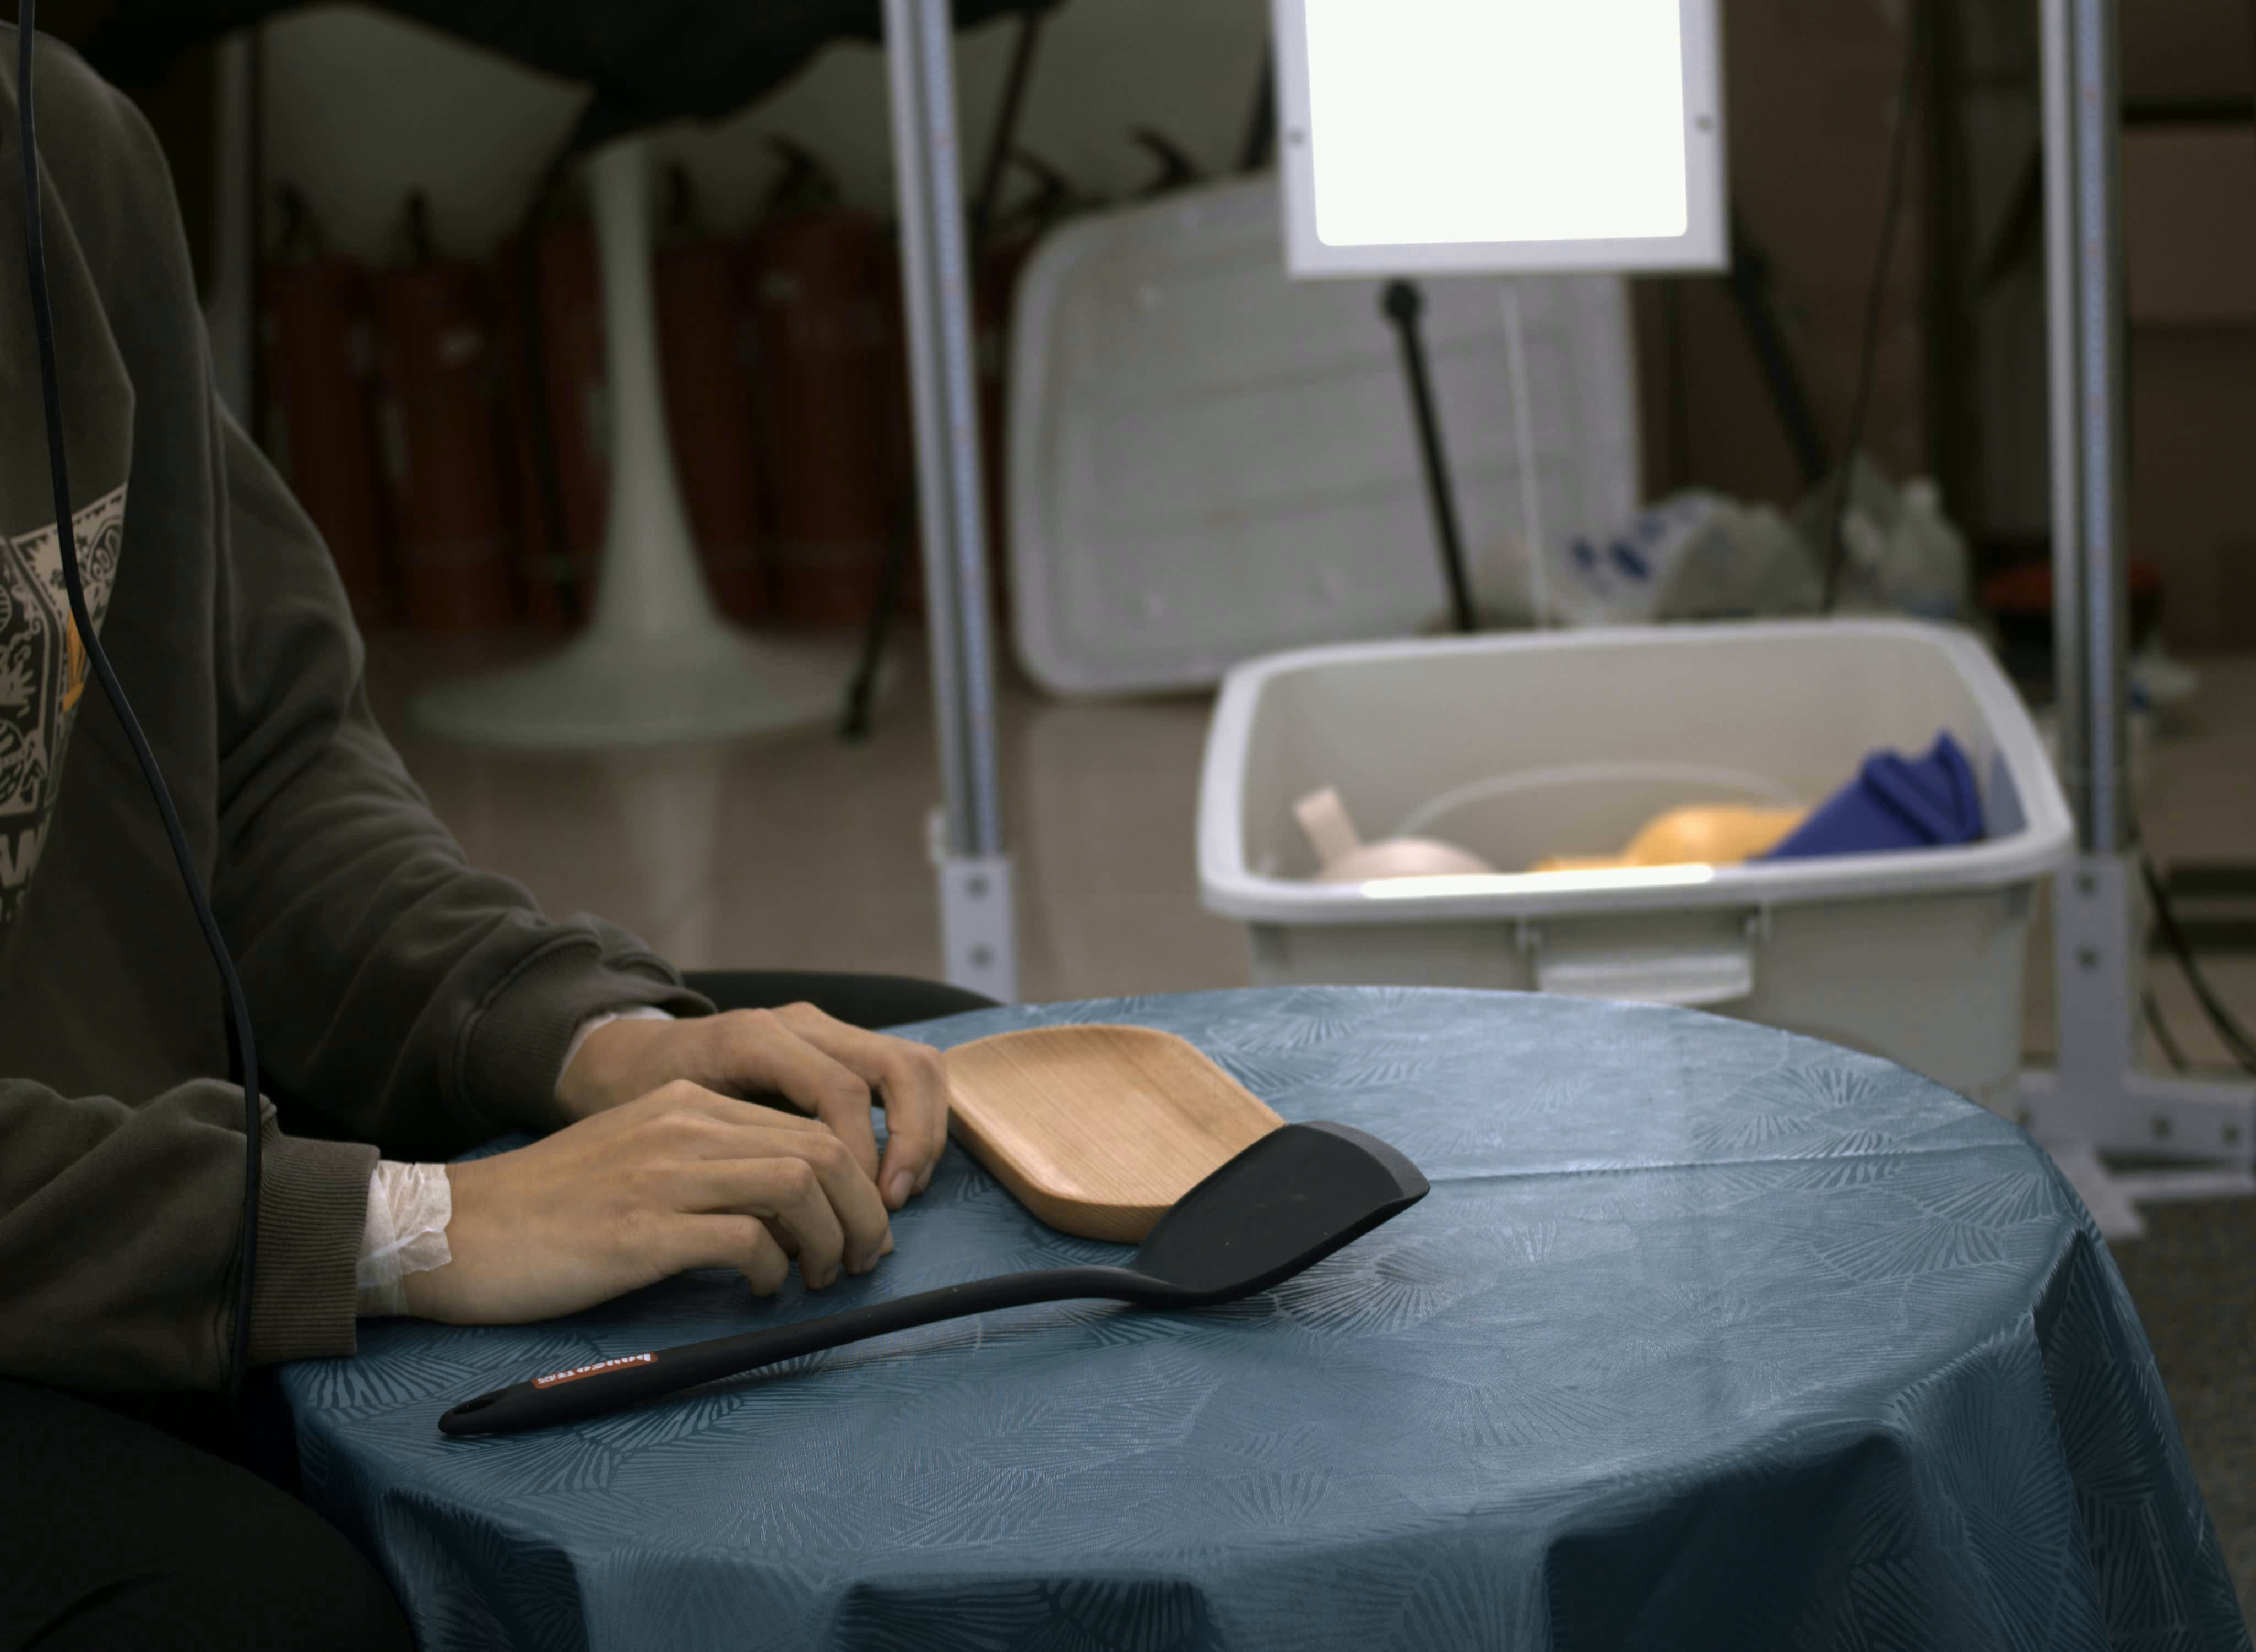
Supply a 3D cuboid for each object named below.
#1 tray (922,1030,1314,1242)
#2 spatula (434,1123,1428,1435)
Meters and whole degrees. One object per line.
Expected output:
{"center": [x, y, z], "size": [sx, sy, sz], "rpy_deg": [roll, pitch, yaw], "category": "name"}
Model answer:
{"center": [-0.005, 0.108, 1.941], "size": [0.100, 0.020, 0.233], "rpy_deg": [-9, 15, -15], "category": "tray"}
{"center": [-0.064, 0.148, 1.756], "size": [0.321, 0.040, 0.101], "rpy_deg": [-9, 13, -17], "category": "spatula"}
